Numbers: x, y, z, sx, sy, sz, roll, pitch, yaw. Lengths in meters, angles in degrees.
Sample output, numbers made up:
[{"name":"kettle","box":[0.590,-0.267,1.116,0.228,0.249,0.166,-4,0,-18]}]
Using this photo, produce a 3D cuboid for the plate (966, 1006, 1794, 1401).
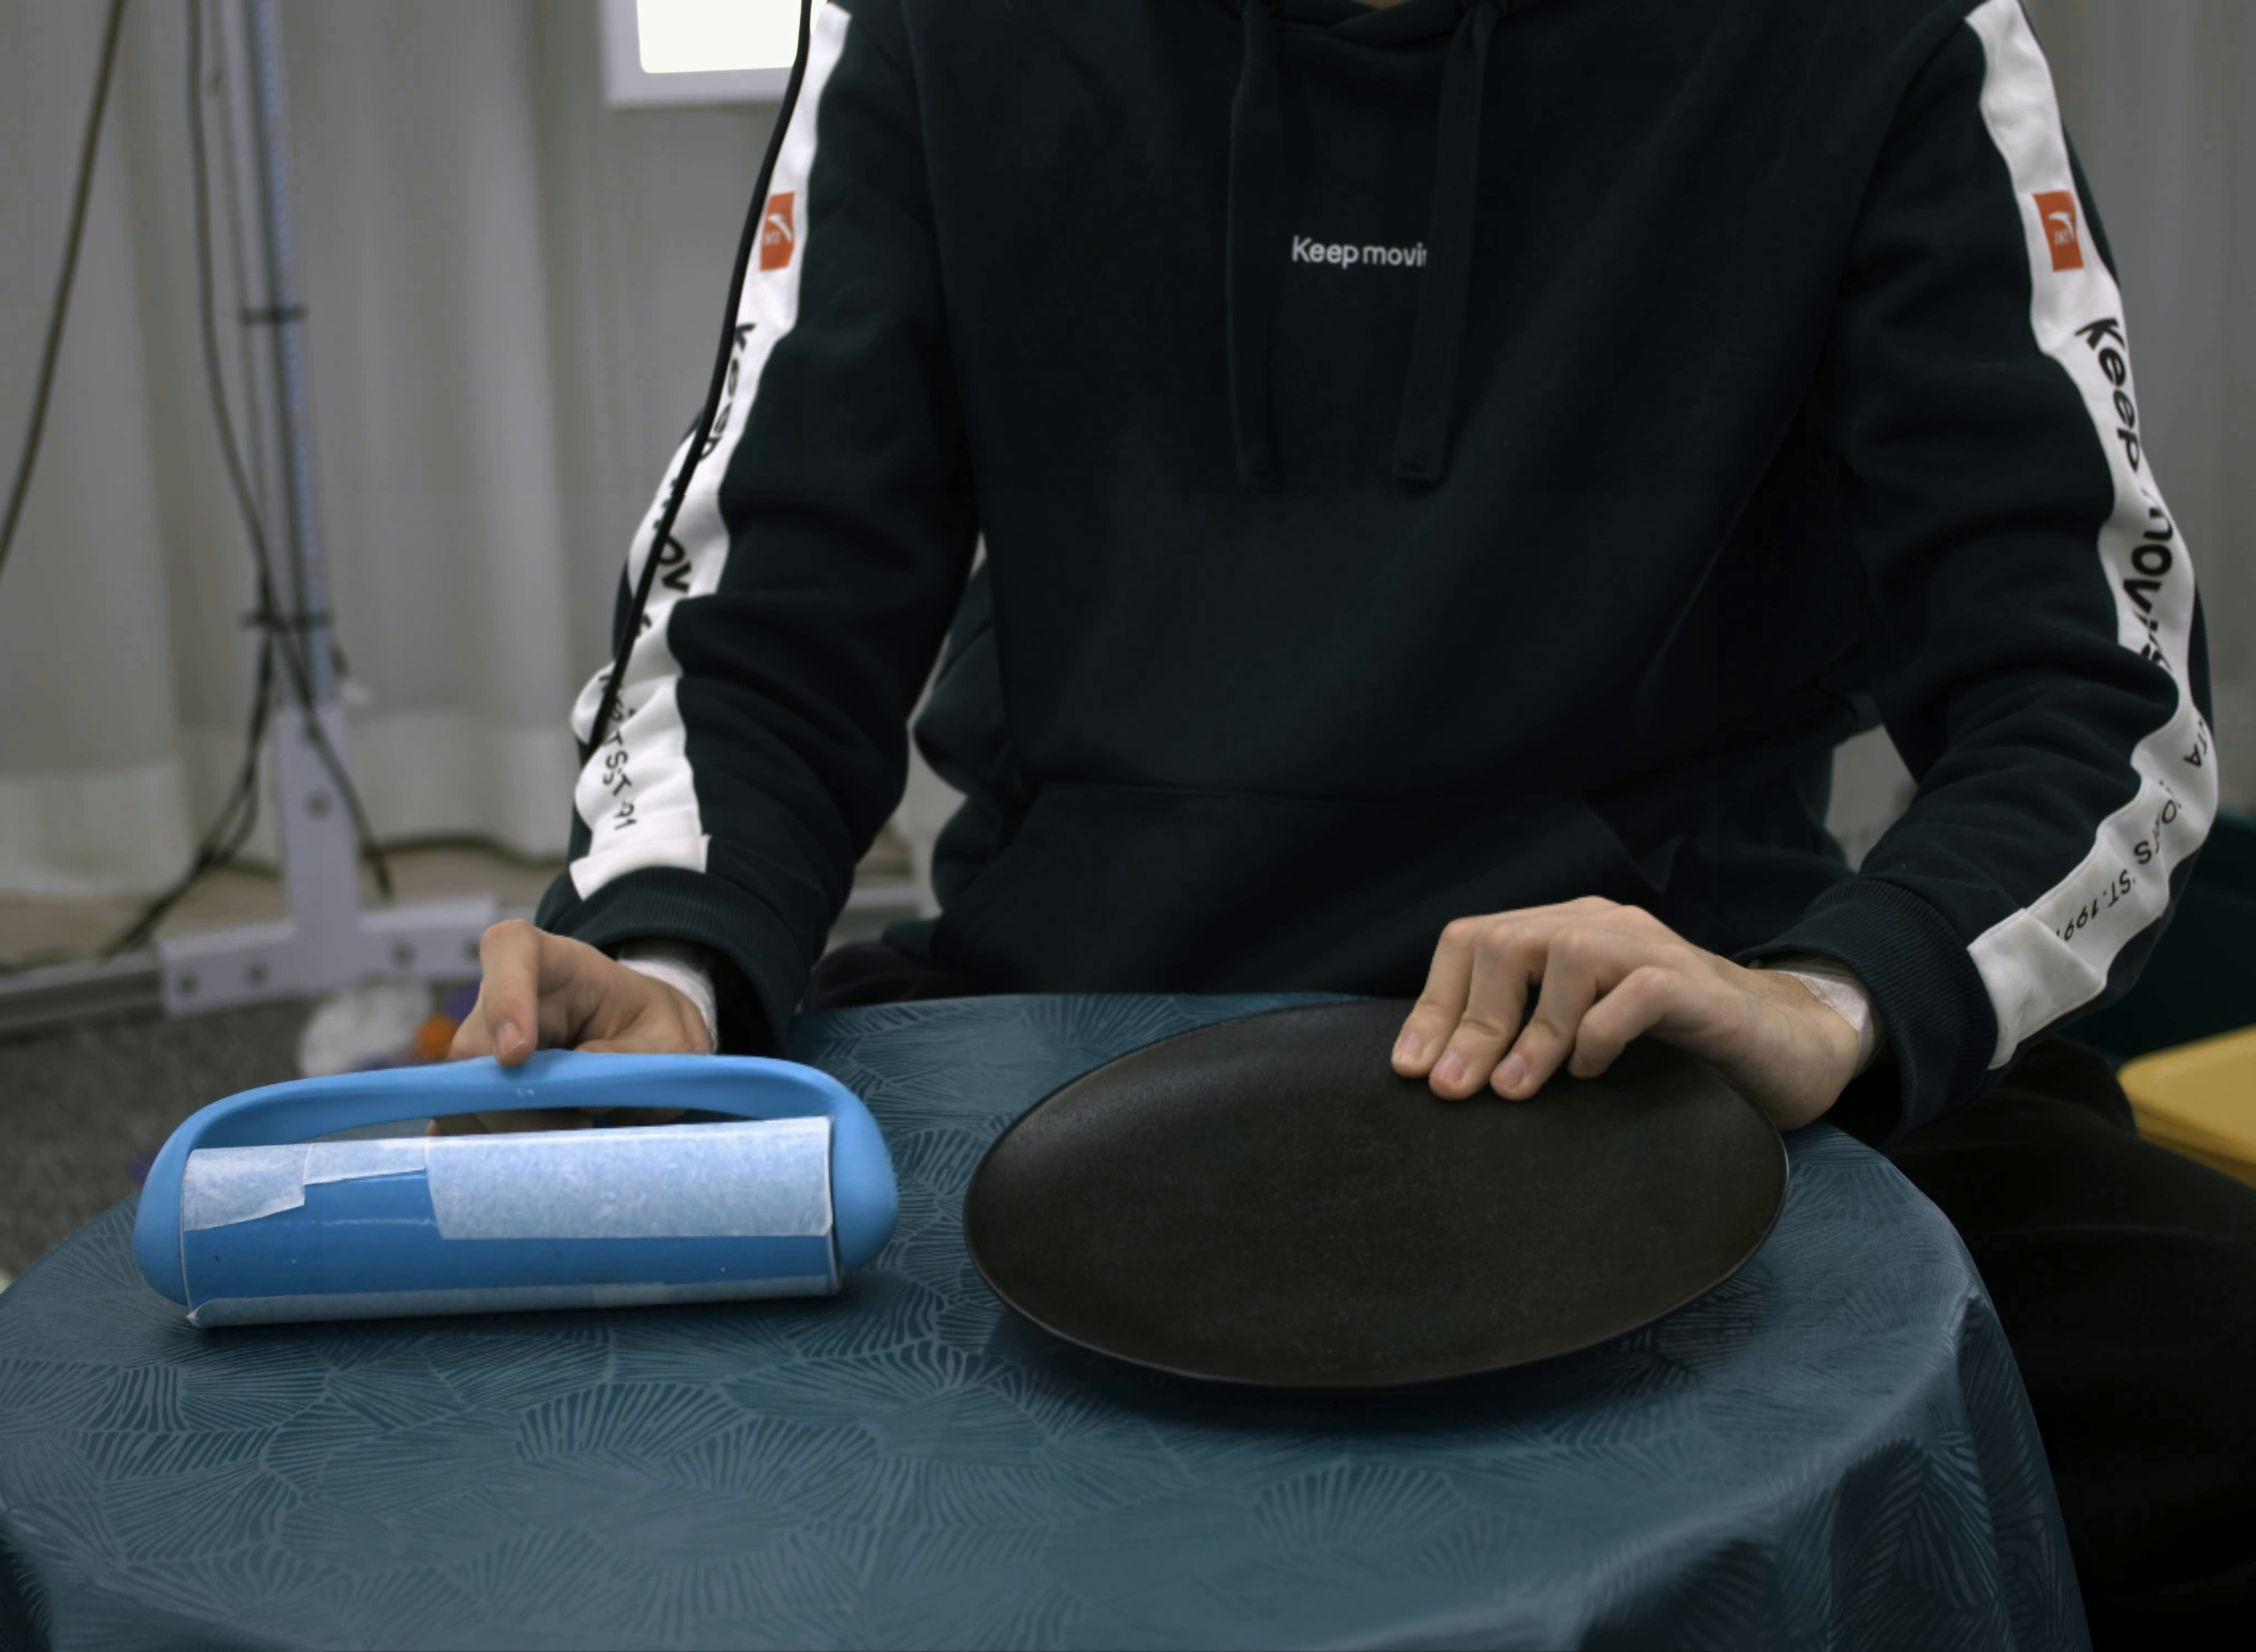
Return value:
[{"name":"plate","box":[0.074,0.114,1.608,0.243,0.023,0.247,-4,23,1]}]

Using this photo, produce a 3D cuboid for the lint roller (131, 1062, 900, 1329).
[{"name":"lint roller","box":[-0.185,0.103,1.686,0.228,0.067,0.181,-4,14,-2]}]
